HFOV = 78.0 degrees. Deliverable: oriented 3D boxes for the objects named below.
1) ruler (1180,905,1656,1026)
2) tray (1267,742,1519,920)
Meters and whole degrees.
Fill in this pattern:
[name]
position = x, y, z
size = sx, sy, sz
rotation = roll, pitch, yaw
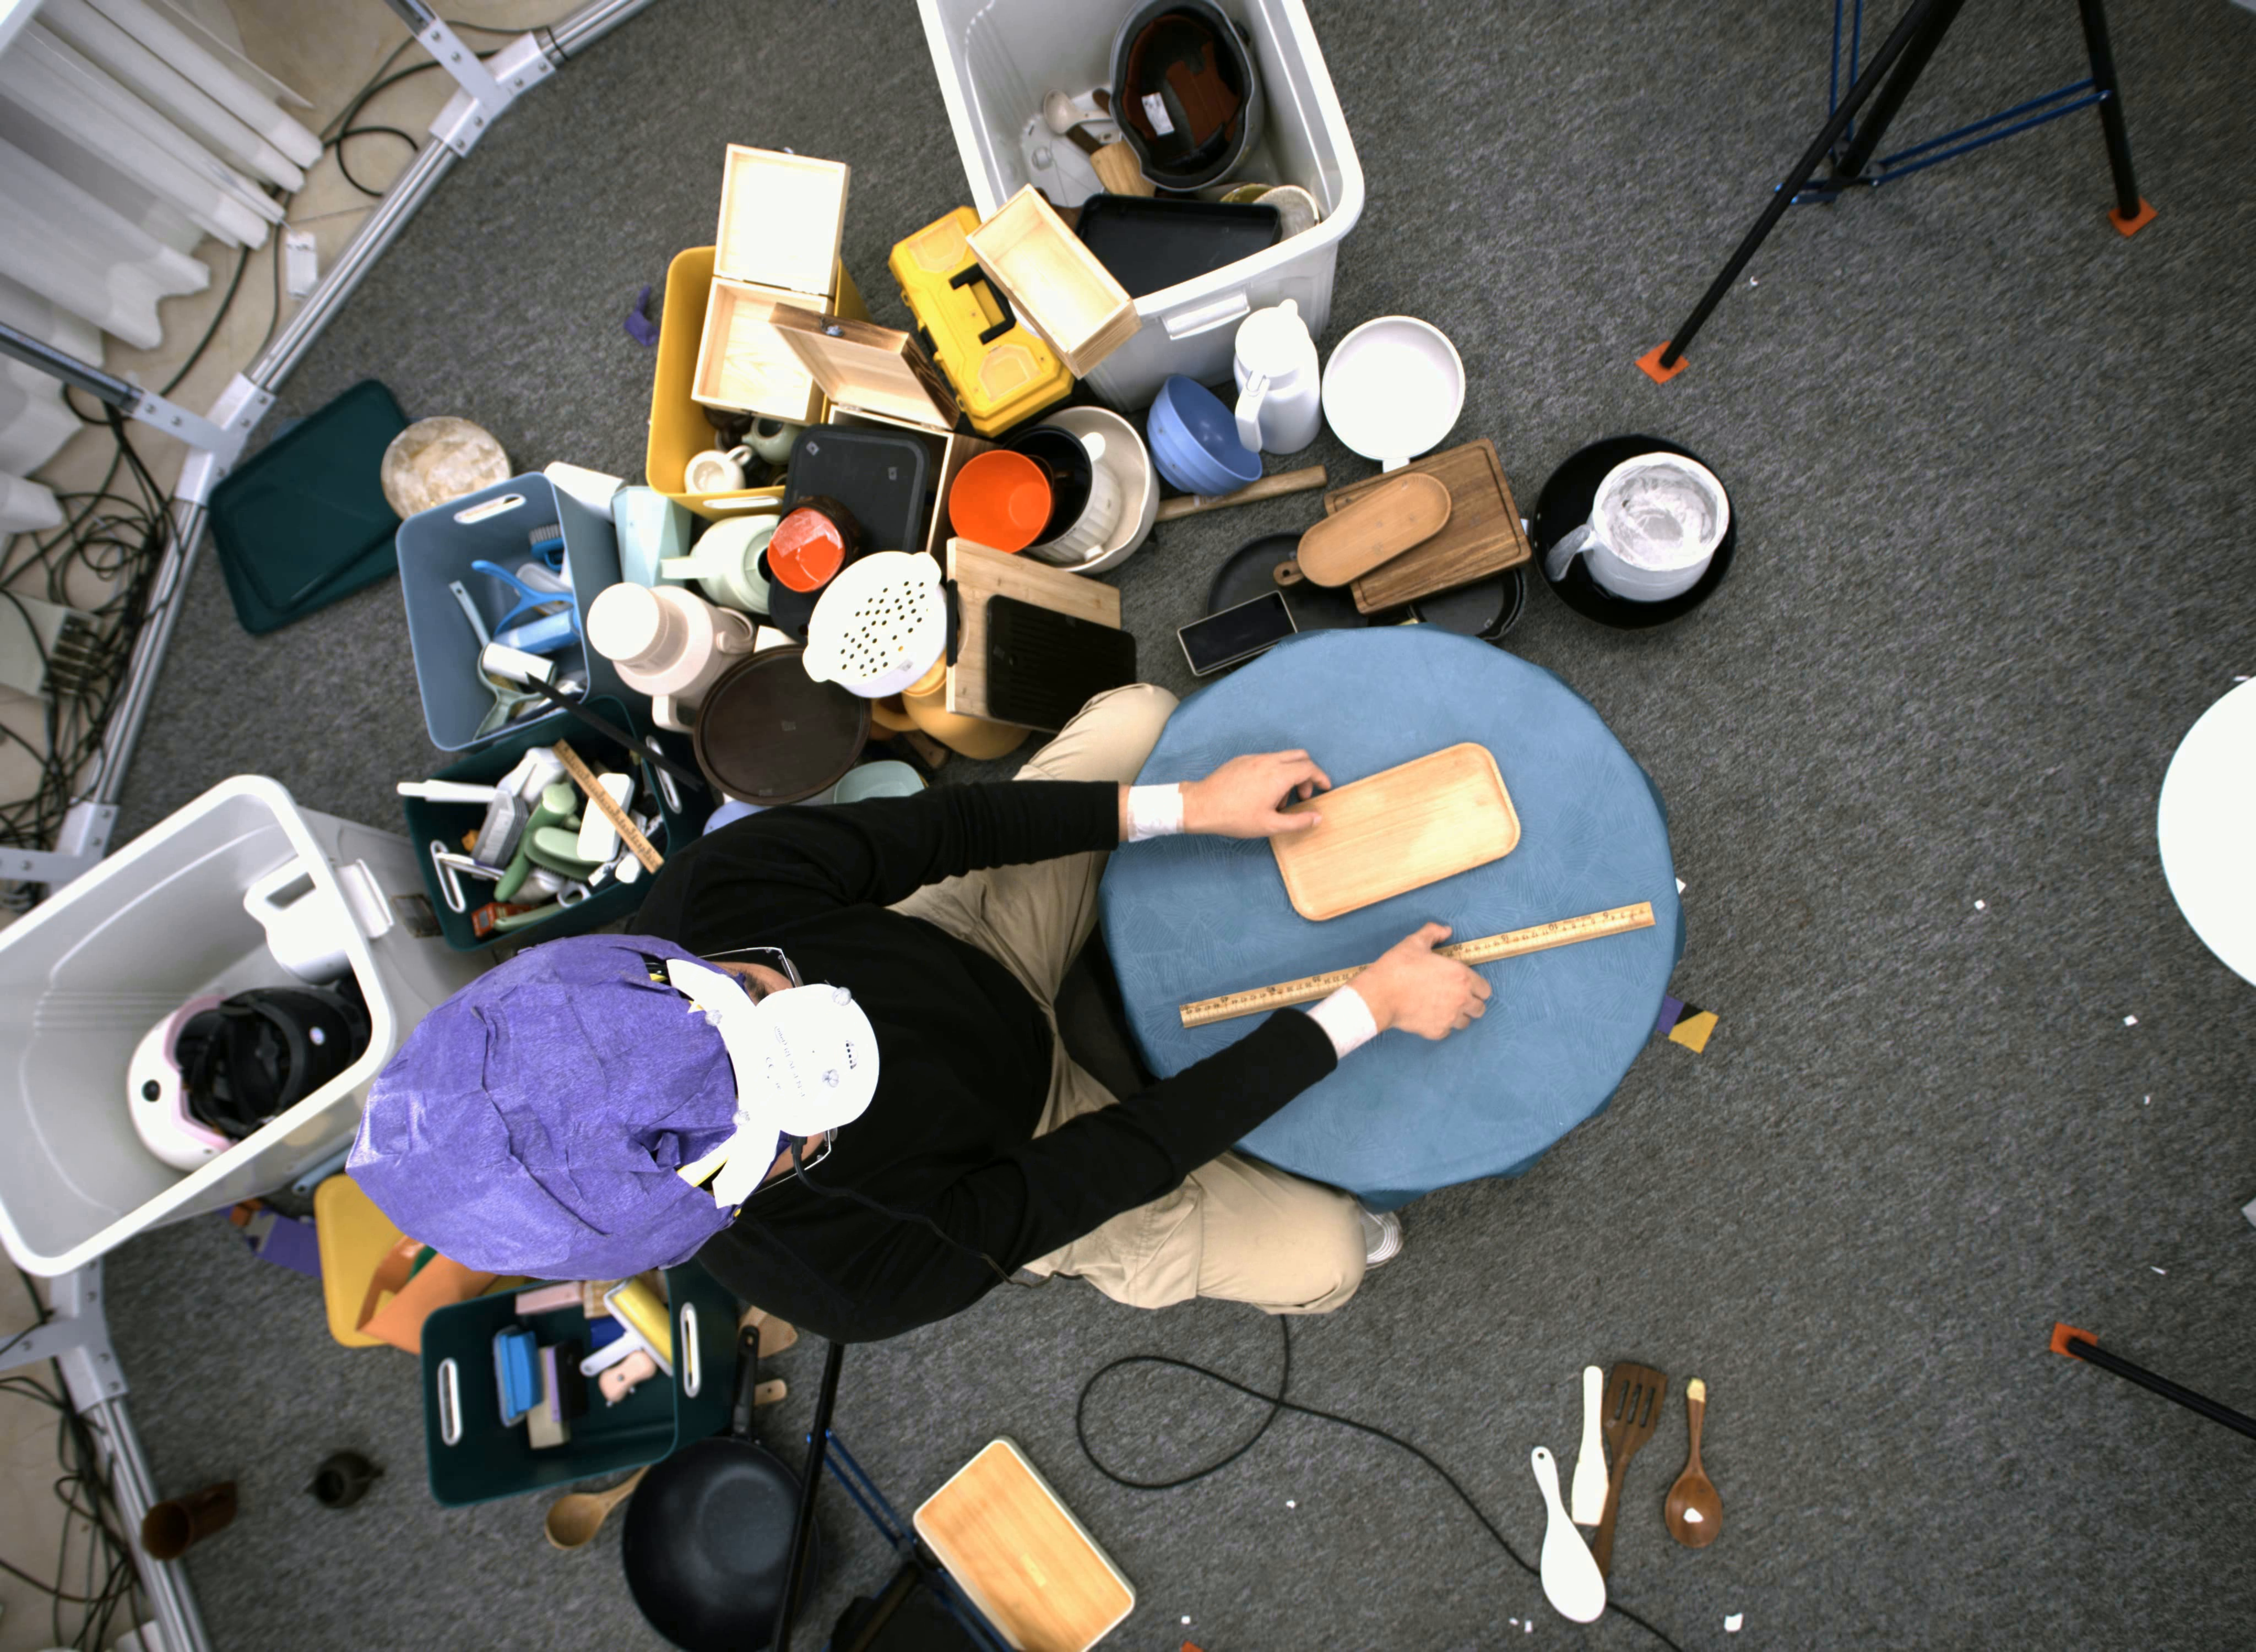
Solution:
[ruler]
position = 0.298, 0.145, 1.448
size = 0.503, 0.006, 0.026
rotation = -13, 82, 10
[tray]
position = 0.278, 0.005, 1.454
size = 0.252, 0.023, 0.129
rotation = -19, 81, 10
